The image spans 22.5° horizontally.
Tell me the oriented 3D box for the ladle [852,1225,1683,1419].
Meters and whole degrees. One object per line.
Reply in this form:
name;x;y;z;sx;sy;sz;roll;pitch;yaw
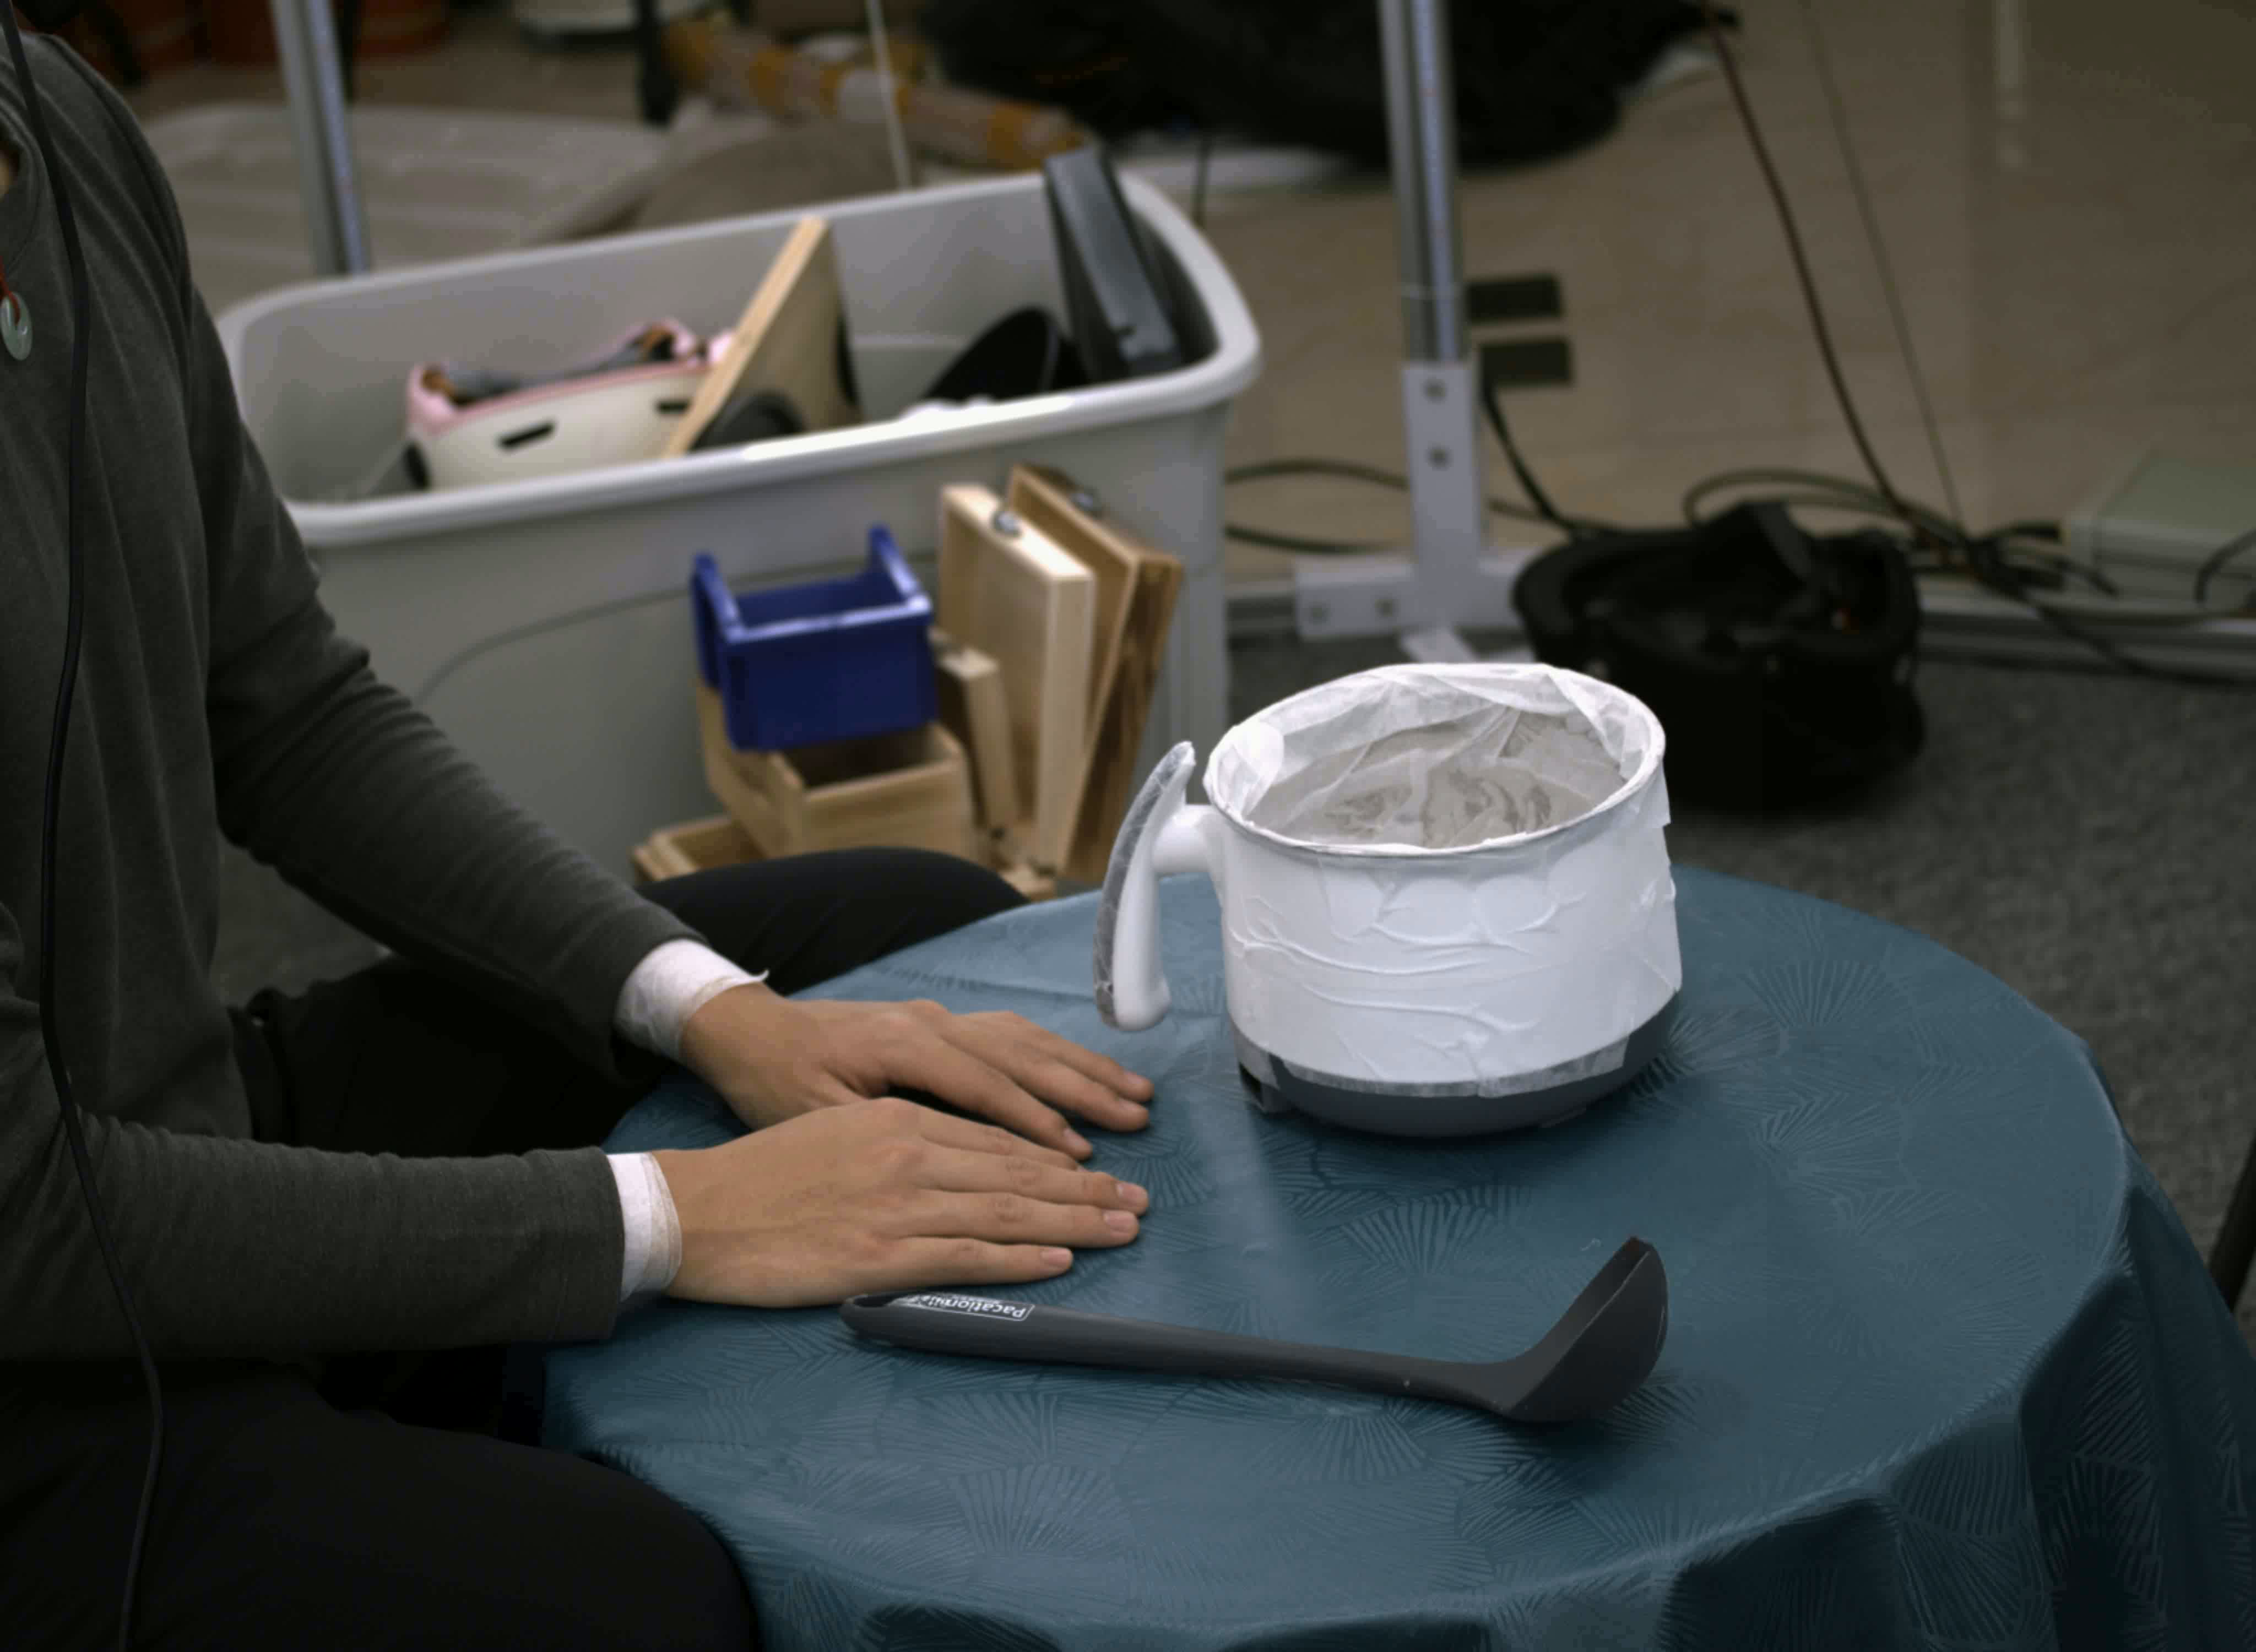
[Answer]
ladle;0.043;0.167;2.004;0.313;0.065;0.085;4;22;22

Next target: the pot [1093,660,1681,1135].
pot;0.097;0.029;2.198;0.233;0.139;0.176;0;26;14
